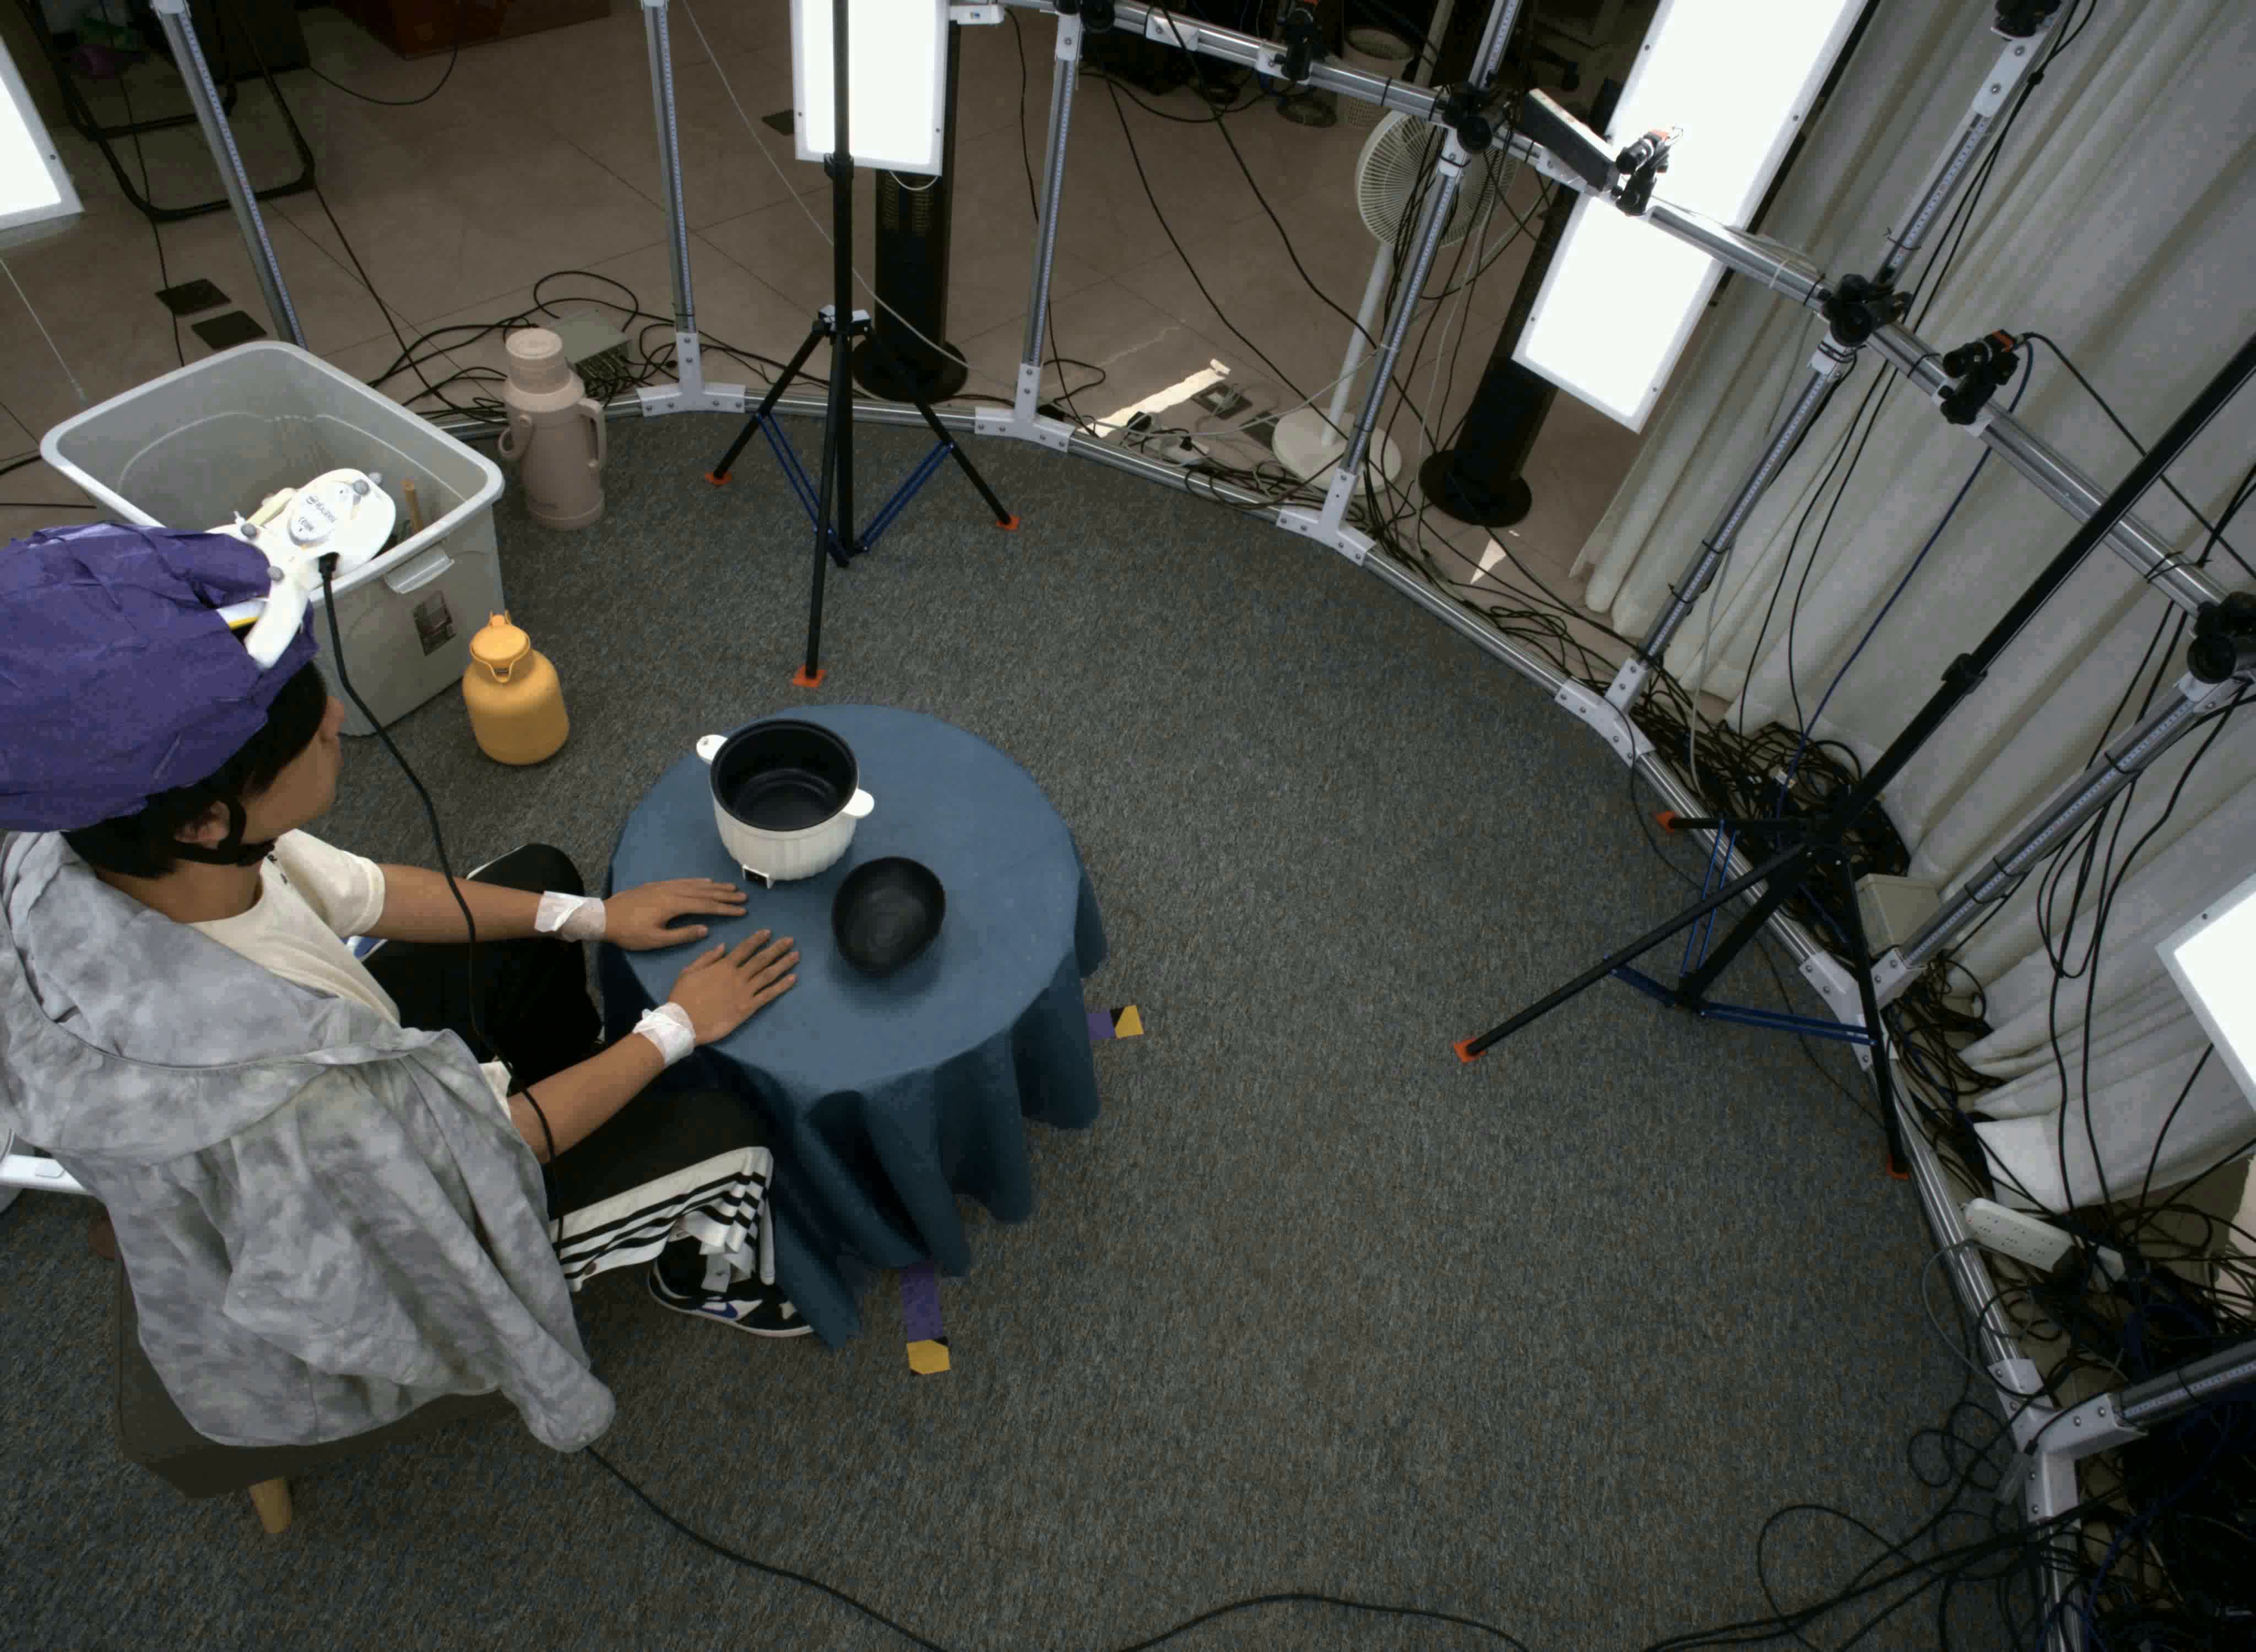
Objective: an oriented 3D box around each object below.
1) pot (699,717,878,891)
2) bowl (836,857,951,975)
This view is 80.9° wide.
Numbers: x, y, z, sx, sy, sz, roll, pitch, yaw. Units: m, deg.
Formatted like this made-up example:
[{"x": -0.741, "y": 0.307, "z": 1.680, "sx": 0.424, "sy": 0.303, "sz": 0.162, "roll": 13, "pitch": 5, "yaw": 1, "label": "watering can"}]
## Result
[{"x": -0.430, "y": -0.031, "z": 1.659, "sx": 0.238, "sy": 0.145, "sz": 0.189, "roll": 21, "pitch": 55, "yaw": 2, "label": "pot"}, {"x": -0.293, "y": 0.121, "z": 1.628, "sx": 0.136, "sy": 0.068, "sz": 0.168, "roll": 15, "pitch": 53, "yaw": 0, "label": "bowl"}]
